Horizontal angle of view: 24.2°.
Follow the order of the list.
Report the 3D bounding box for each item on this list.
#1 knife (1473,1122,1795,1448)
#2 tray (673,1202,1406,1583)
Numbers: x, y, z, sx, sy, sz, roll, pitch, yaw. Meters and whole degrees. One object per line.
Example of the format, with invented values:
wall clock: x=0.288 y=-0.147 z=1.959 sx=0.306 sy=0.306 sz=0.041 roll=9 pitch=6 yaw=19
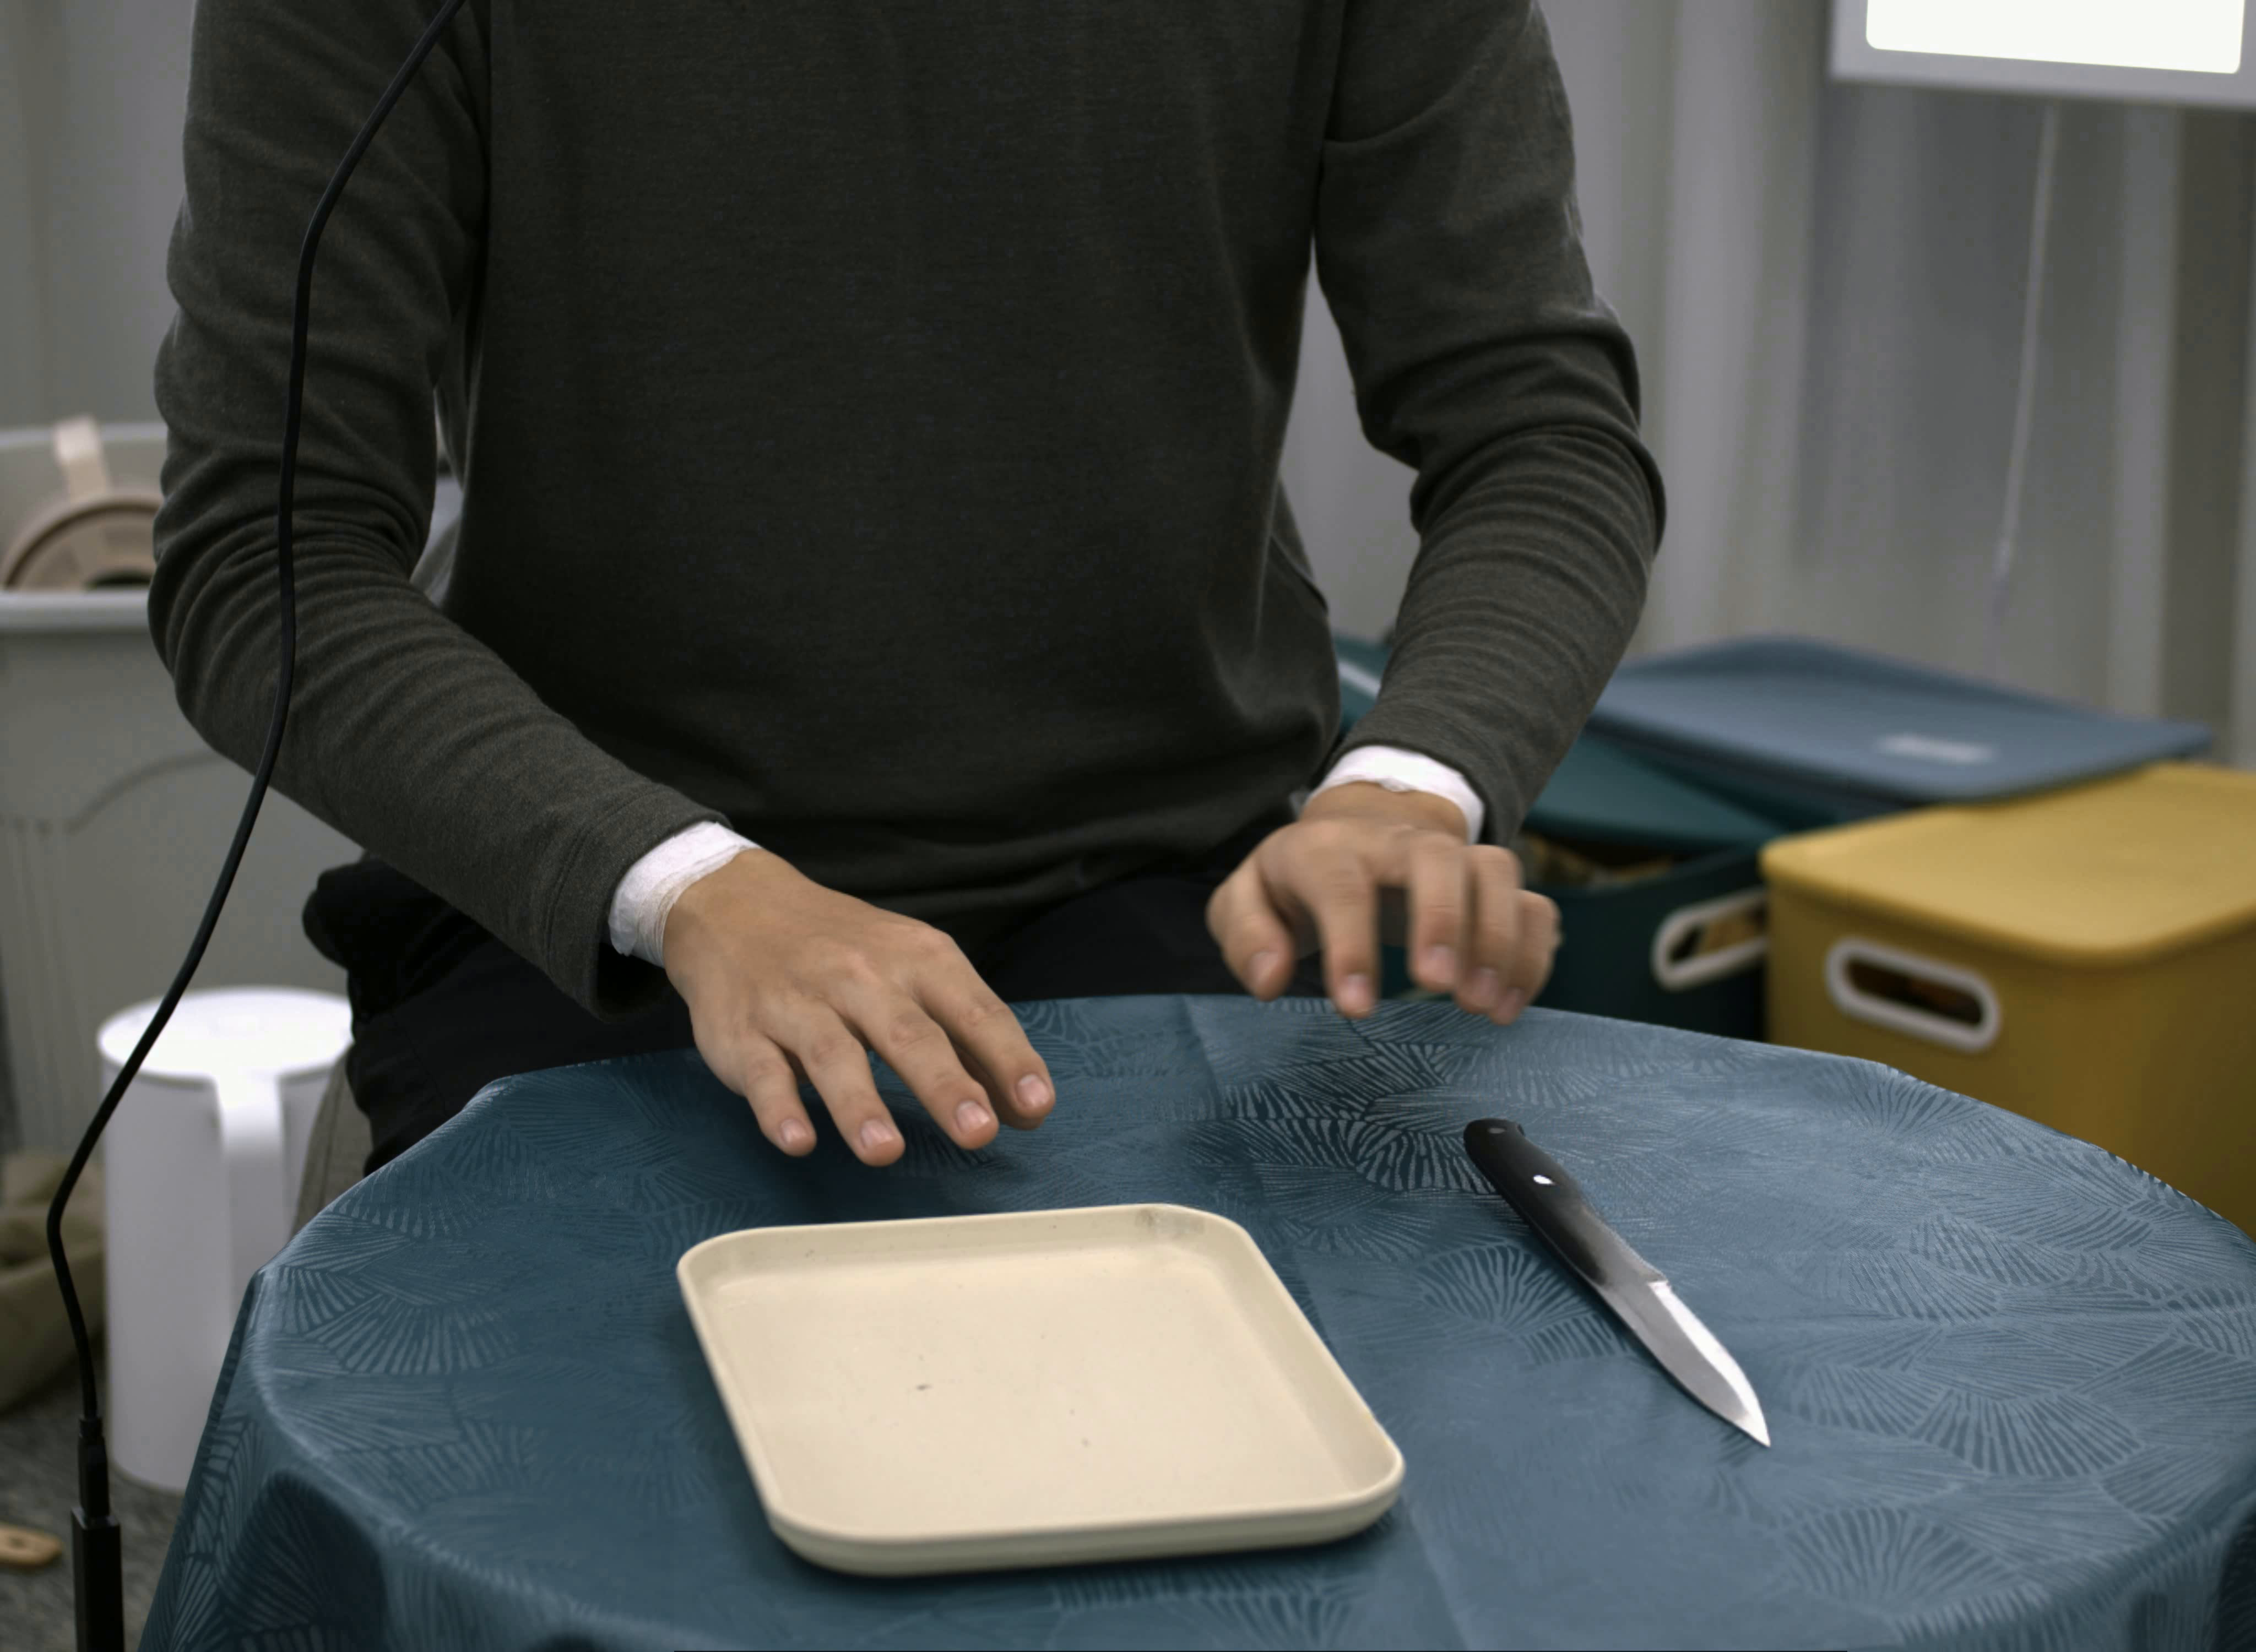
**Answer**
knife: x=0.144 y=0.133 z=1.534 sx=0.024 sy=0.016 sz=0.235 roll=-7 pitch=19 yaw=-15
tray: x=-0.029 y=0.153 z=1.443 sx=0.171 sy=0.017 sz=0.237 roll=-3 pitch=16 yaw=-12
